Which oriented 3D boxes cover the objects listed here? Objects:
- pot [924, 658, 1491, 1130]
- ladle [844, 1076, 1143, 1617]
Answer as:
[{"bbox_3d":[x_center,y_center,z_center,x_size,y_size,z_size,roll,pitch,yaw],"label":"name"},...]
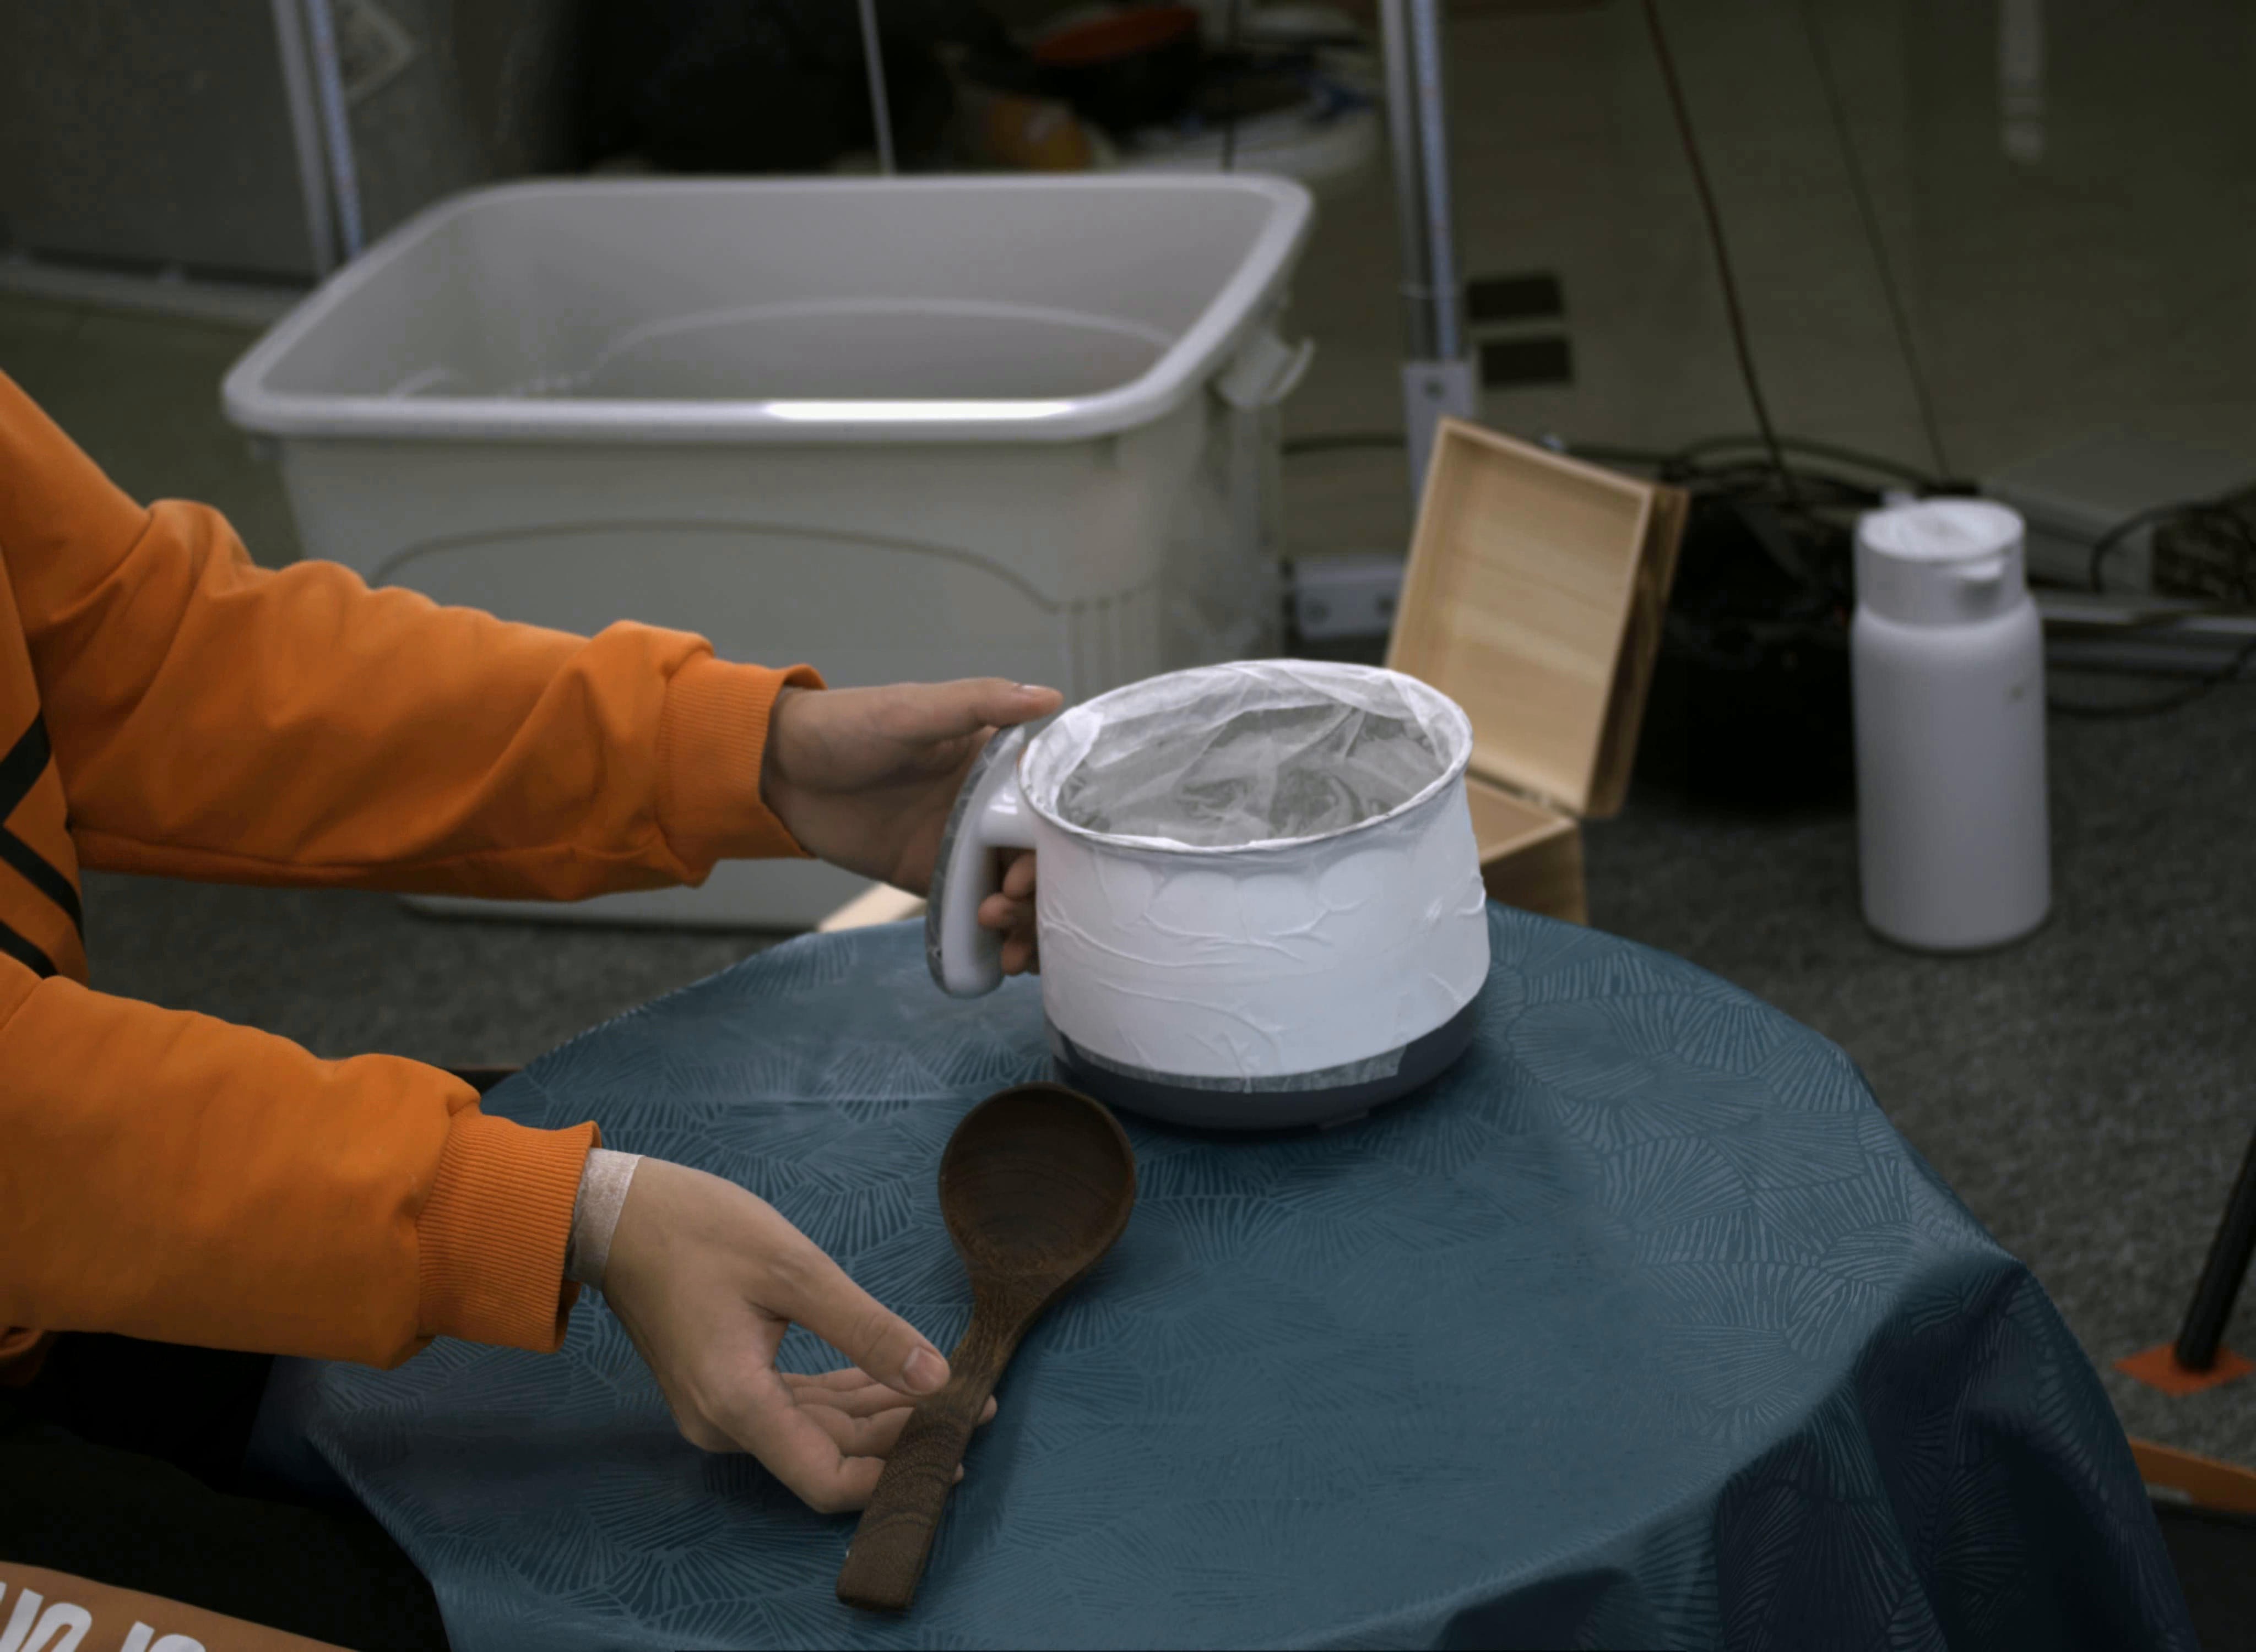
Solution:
[{"bbox_3d":[0.026,0.026,2.216,0.233,0.139,0.176,5,27,21],"label":"pot"},{"bbox_3d":[-0.054,0.176,1.995,0.076,0.072,0.270,5,26,11],"label":"ladle"}]
